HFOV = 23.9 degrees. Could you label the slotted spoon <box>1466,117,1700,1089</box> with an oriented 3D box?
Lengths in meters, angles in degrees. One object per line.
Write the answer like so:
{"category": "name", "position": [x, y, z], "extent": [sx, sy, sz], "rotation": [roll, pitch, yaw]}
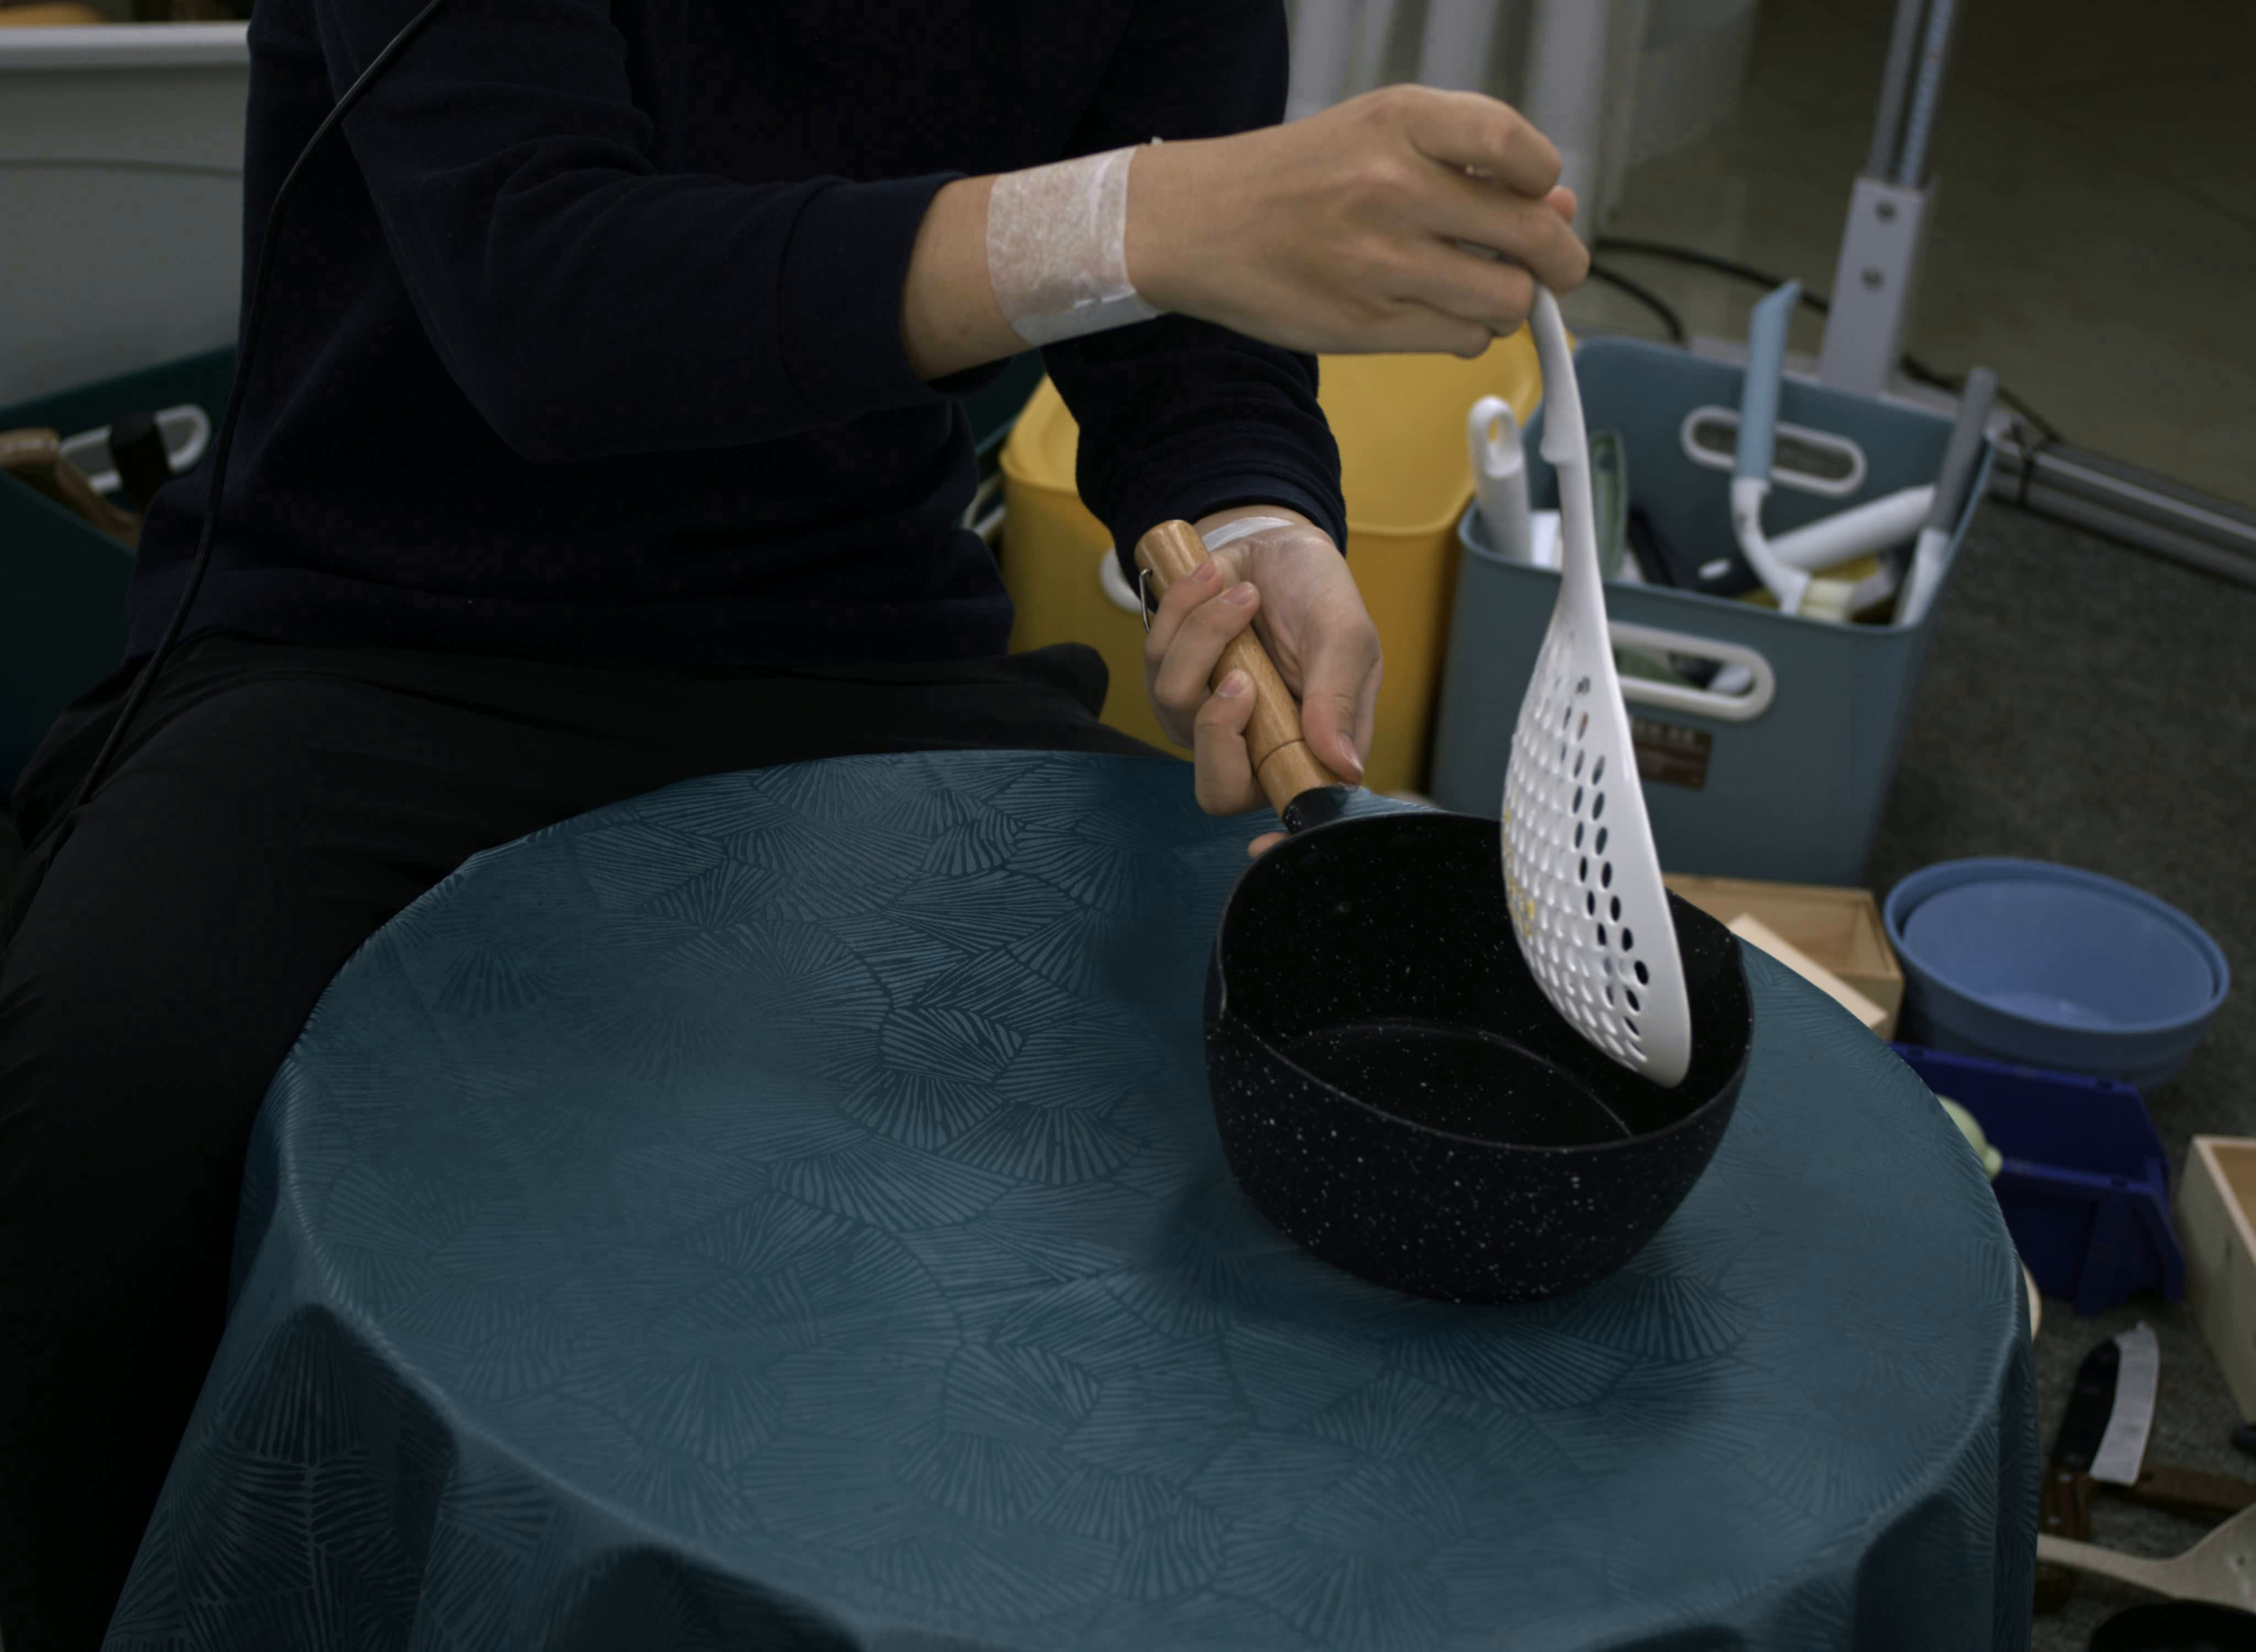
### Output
{"category": "slotted spoon", "position": [0.140, -0.072, 1.724], "extent": [0.050, 0.346, 0.138], "rotation": [-9, 29, -8]}

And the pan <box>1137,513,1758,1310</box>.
{"category": "pan", "position": [0.078, 0.028, 1.843], "extent": [0.206, 0.108, 0.346], "rotation": [-11, 41, -27]}
